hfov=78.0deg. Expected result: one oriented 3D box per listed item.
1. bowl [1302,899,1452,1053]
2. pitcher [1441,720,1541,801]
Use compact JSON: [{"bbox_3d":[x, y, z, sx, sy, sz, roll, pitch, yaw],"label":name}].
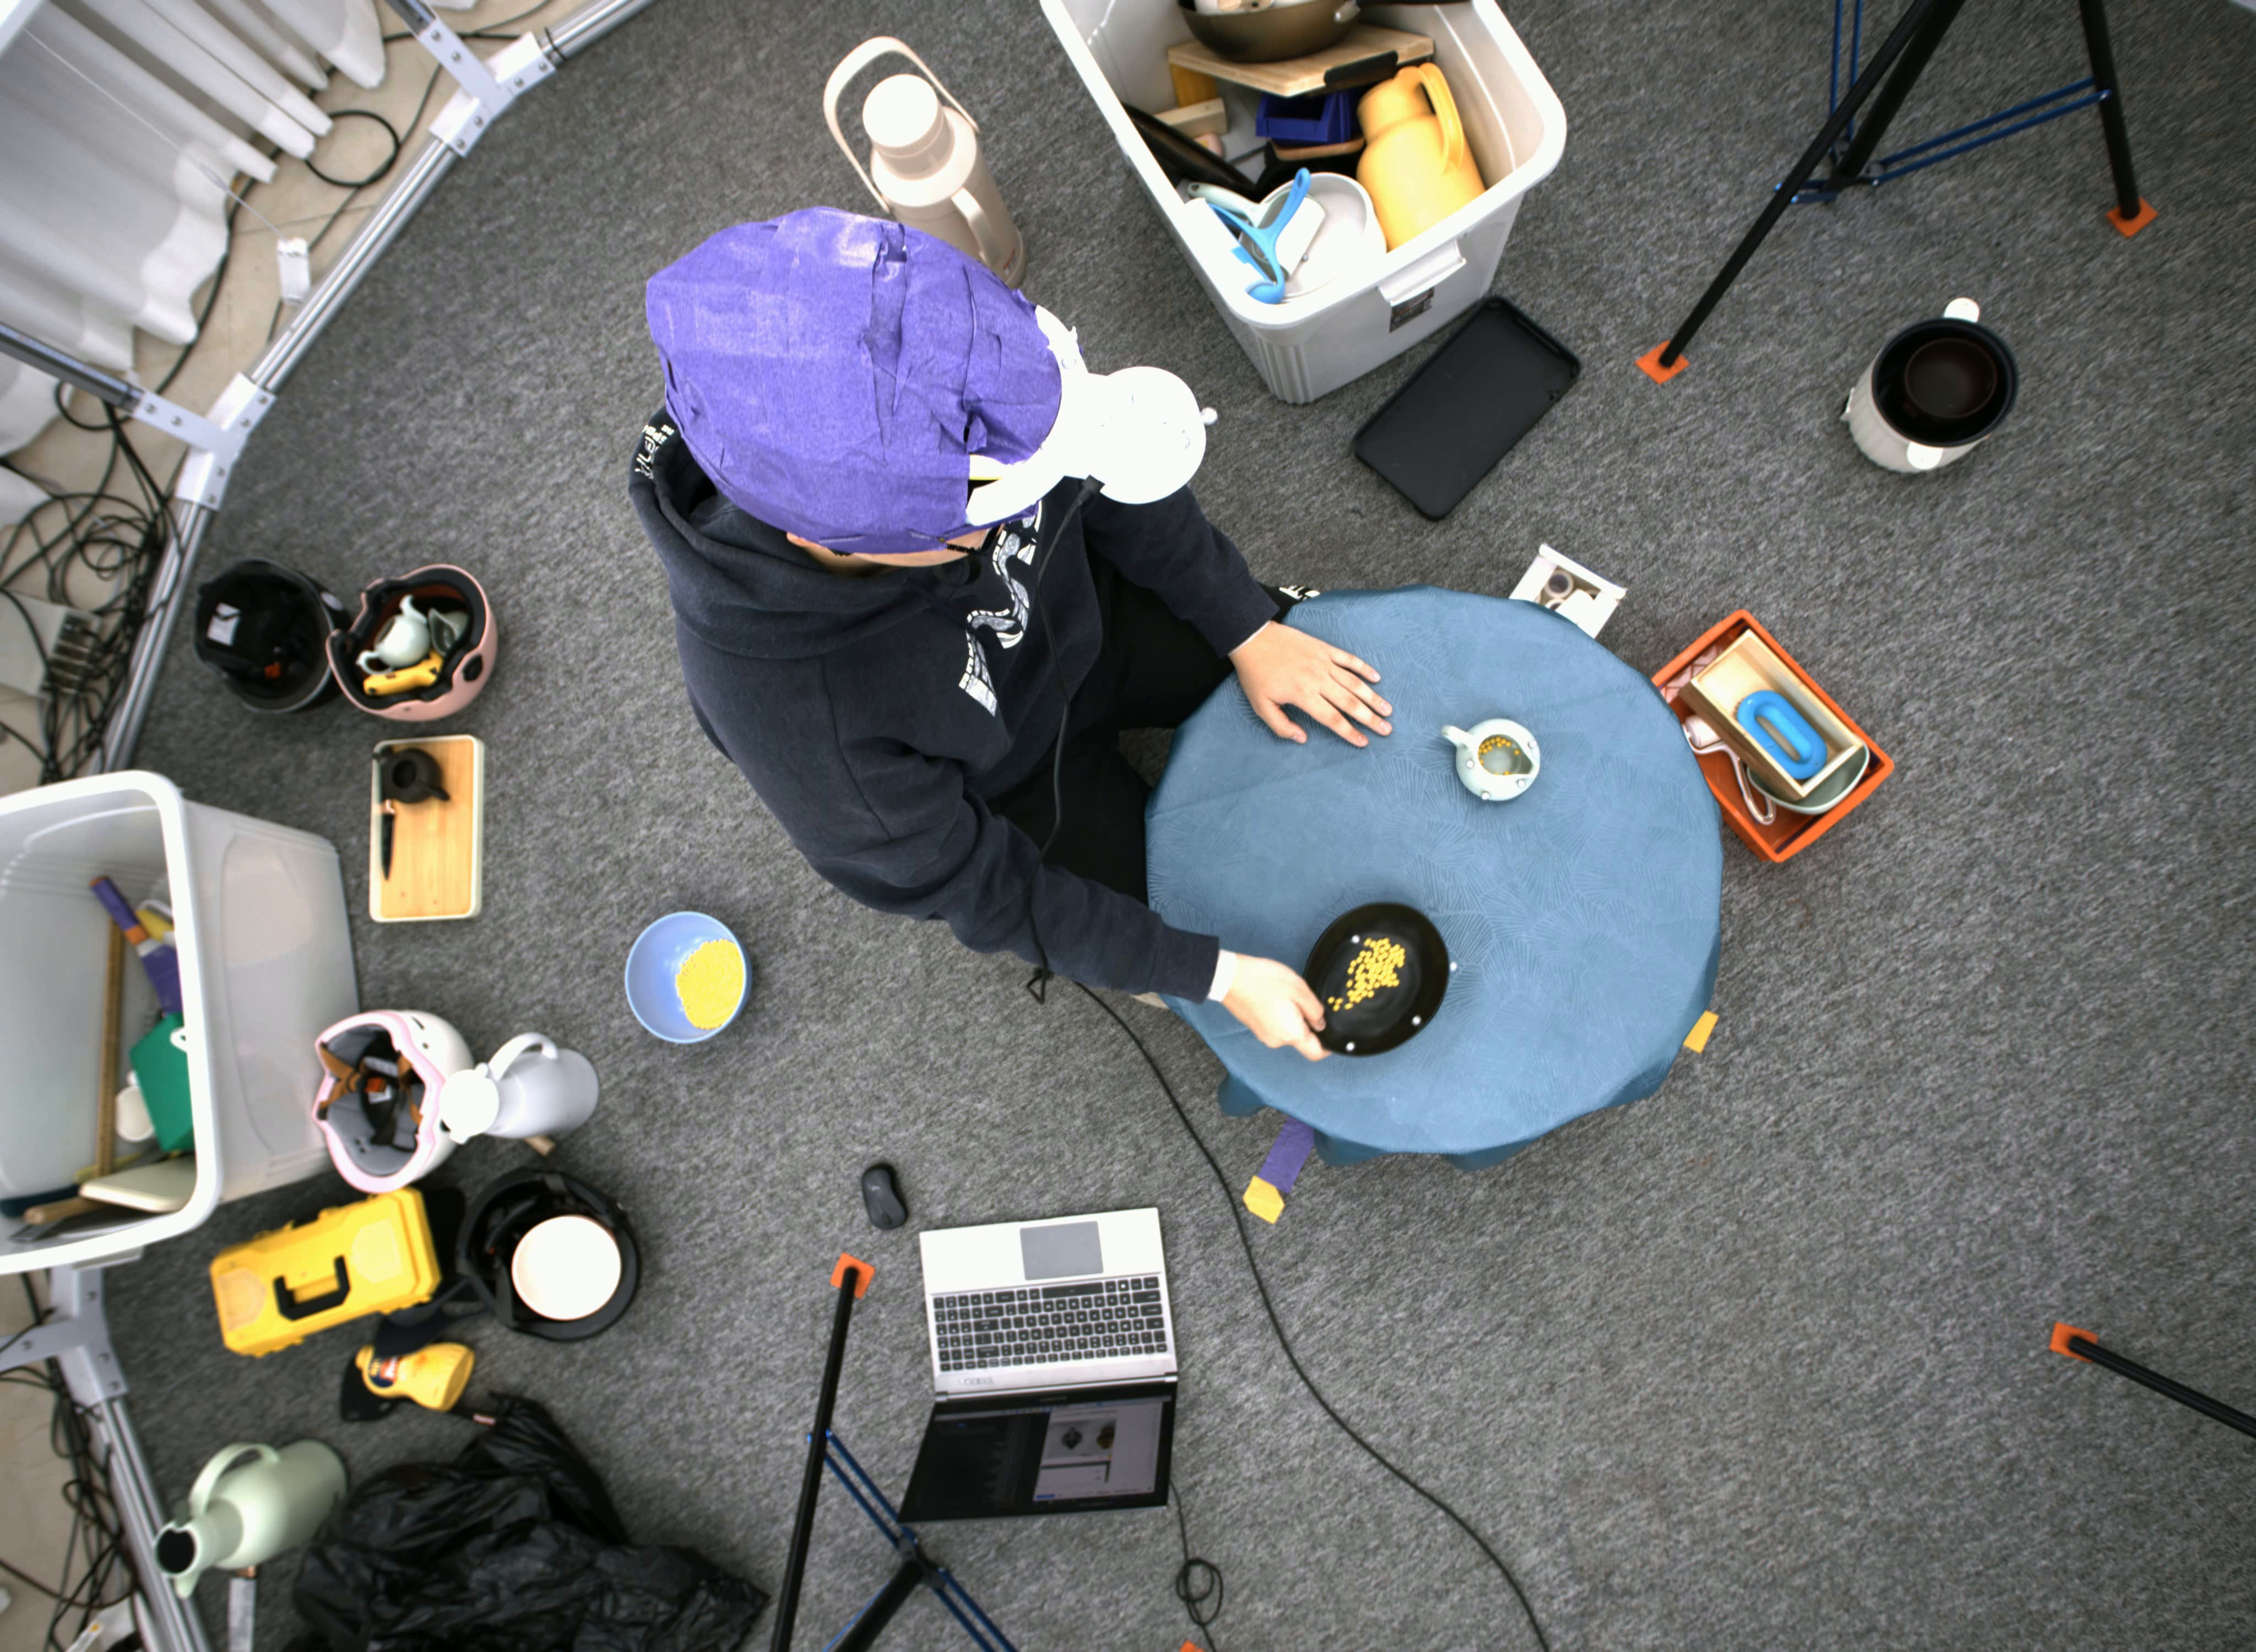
[{"bbox_3d":[0.253,0.156,1.414,0.137,0.067,0.169,36,85,14],"label":"bowl"},{"bbox_3d":[0.374,-0.076,1.422,0.108,0.060,0.086,25,90,14],"label":"pitcher"}]
